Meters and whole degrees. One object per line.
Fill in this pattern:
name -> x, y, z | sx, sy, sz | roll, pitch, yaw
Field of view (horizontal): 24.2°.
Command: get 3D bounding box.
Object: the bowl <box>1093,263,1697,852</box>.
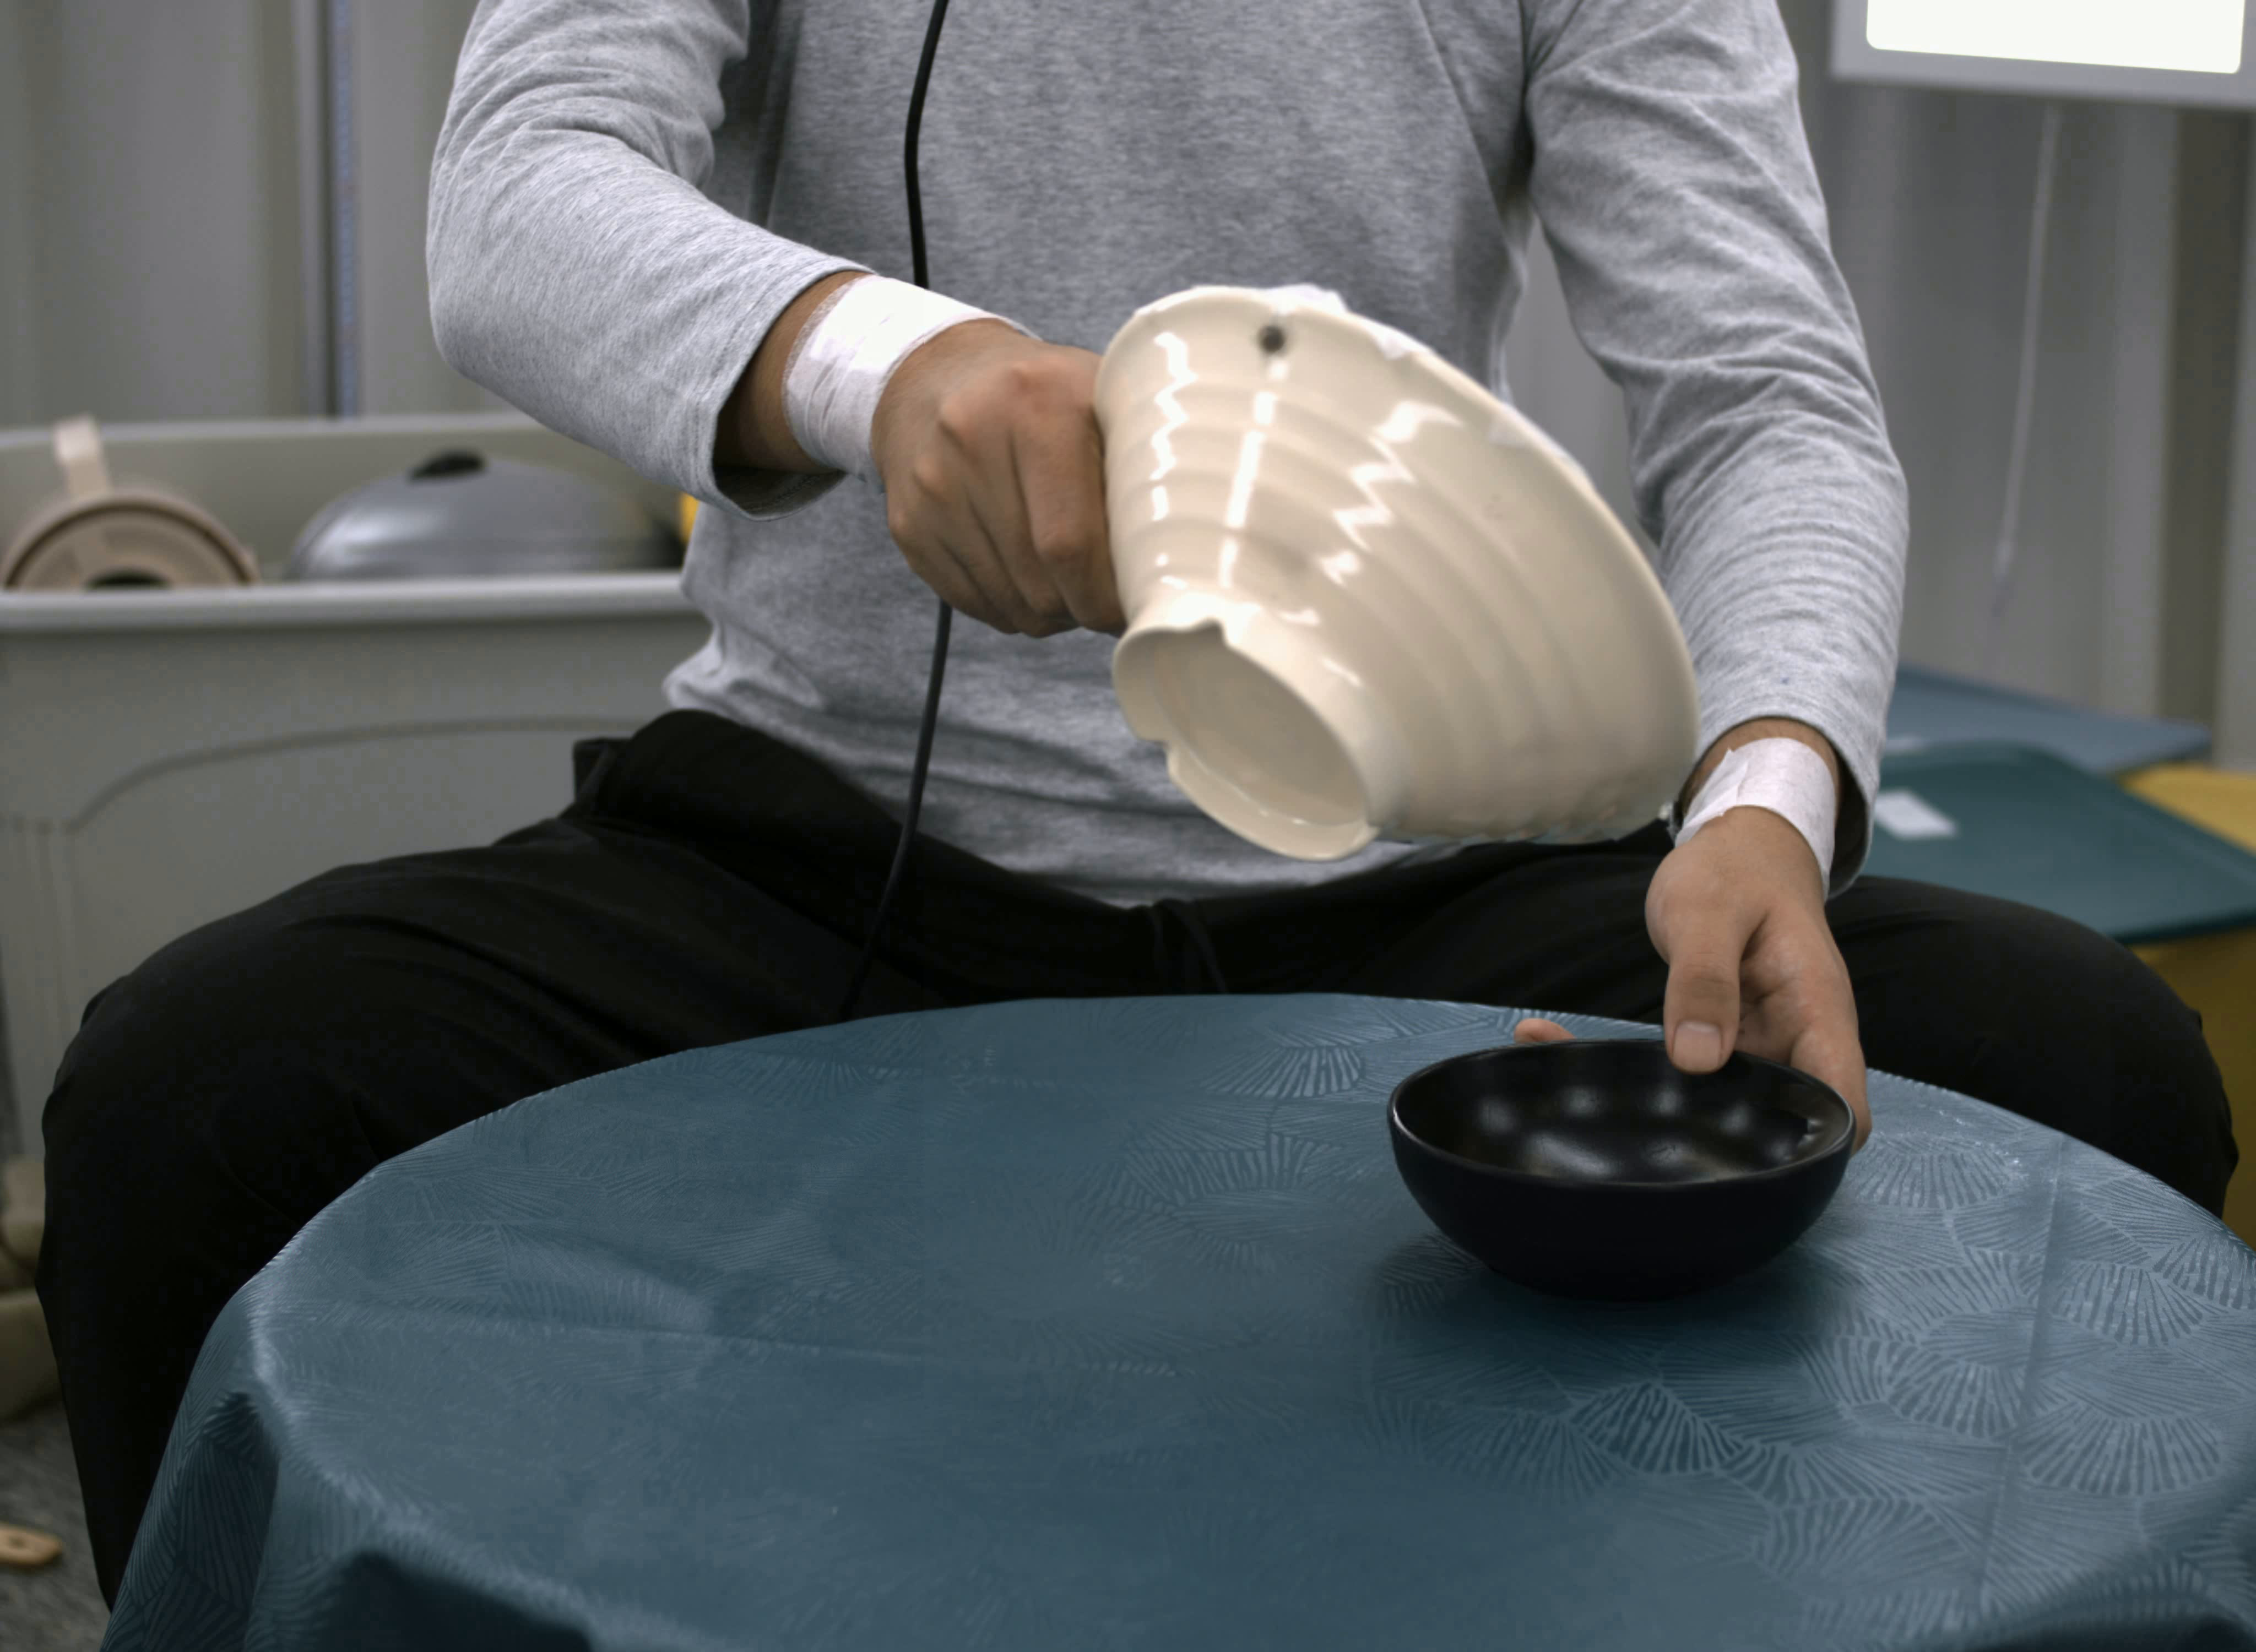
bowl -> 0.052, -0.051, 1.444 | 0.201, 0.207, 0.078 | 15, 53, 40

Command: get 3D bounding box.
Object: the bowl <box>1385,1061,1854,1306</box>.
bowl -> 0.145, 0.109, 1.561 | 0.139, 0.050, 0.139 | 1, 11, 0
